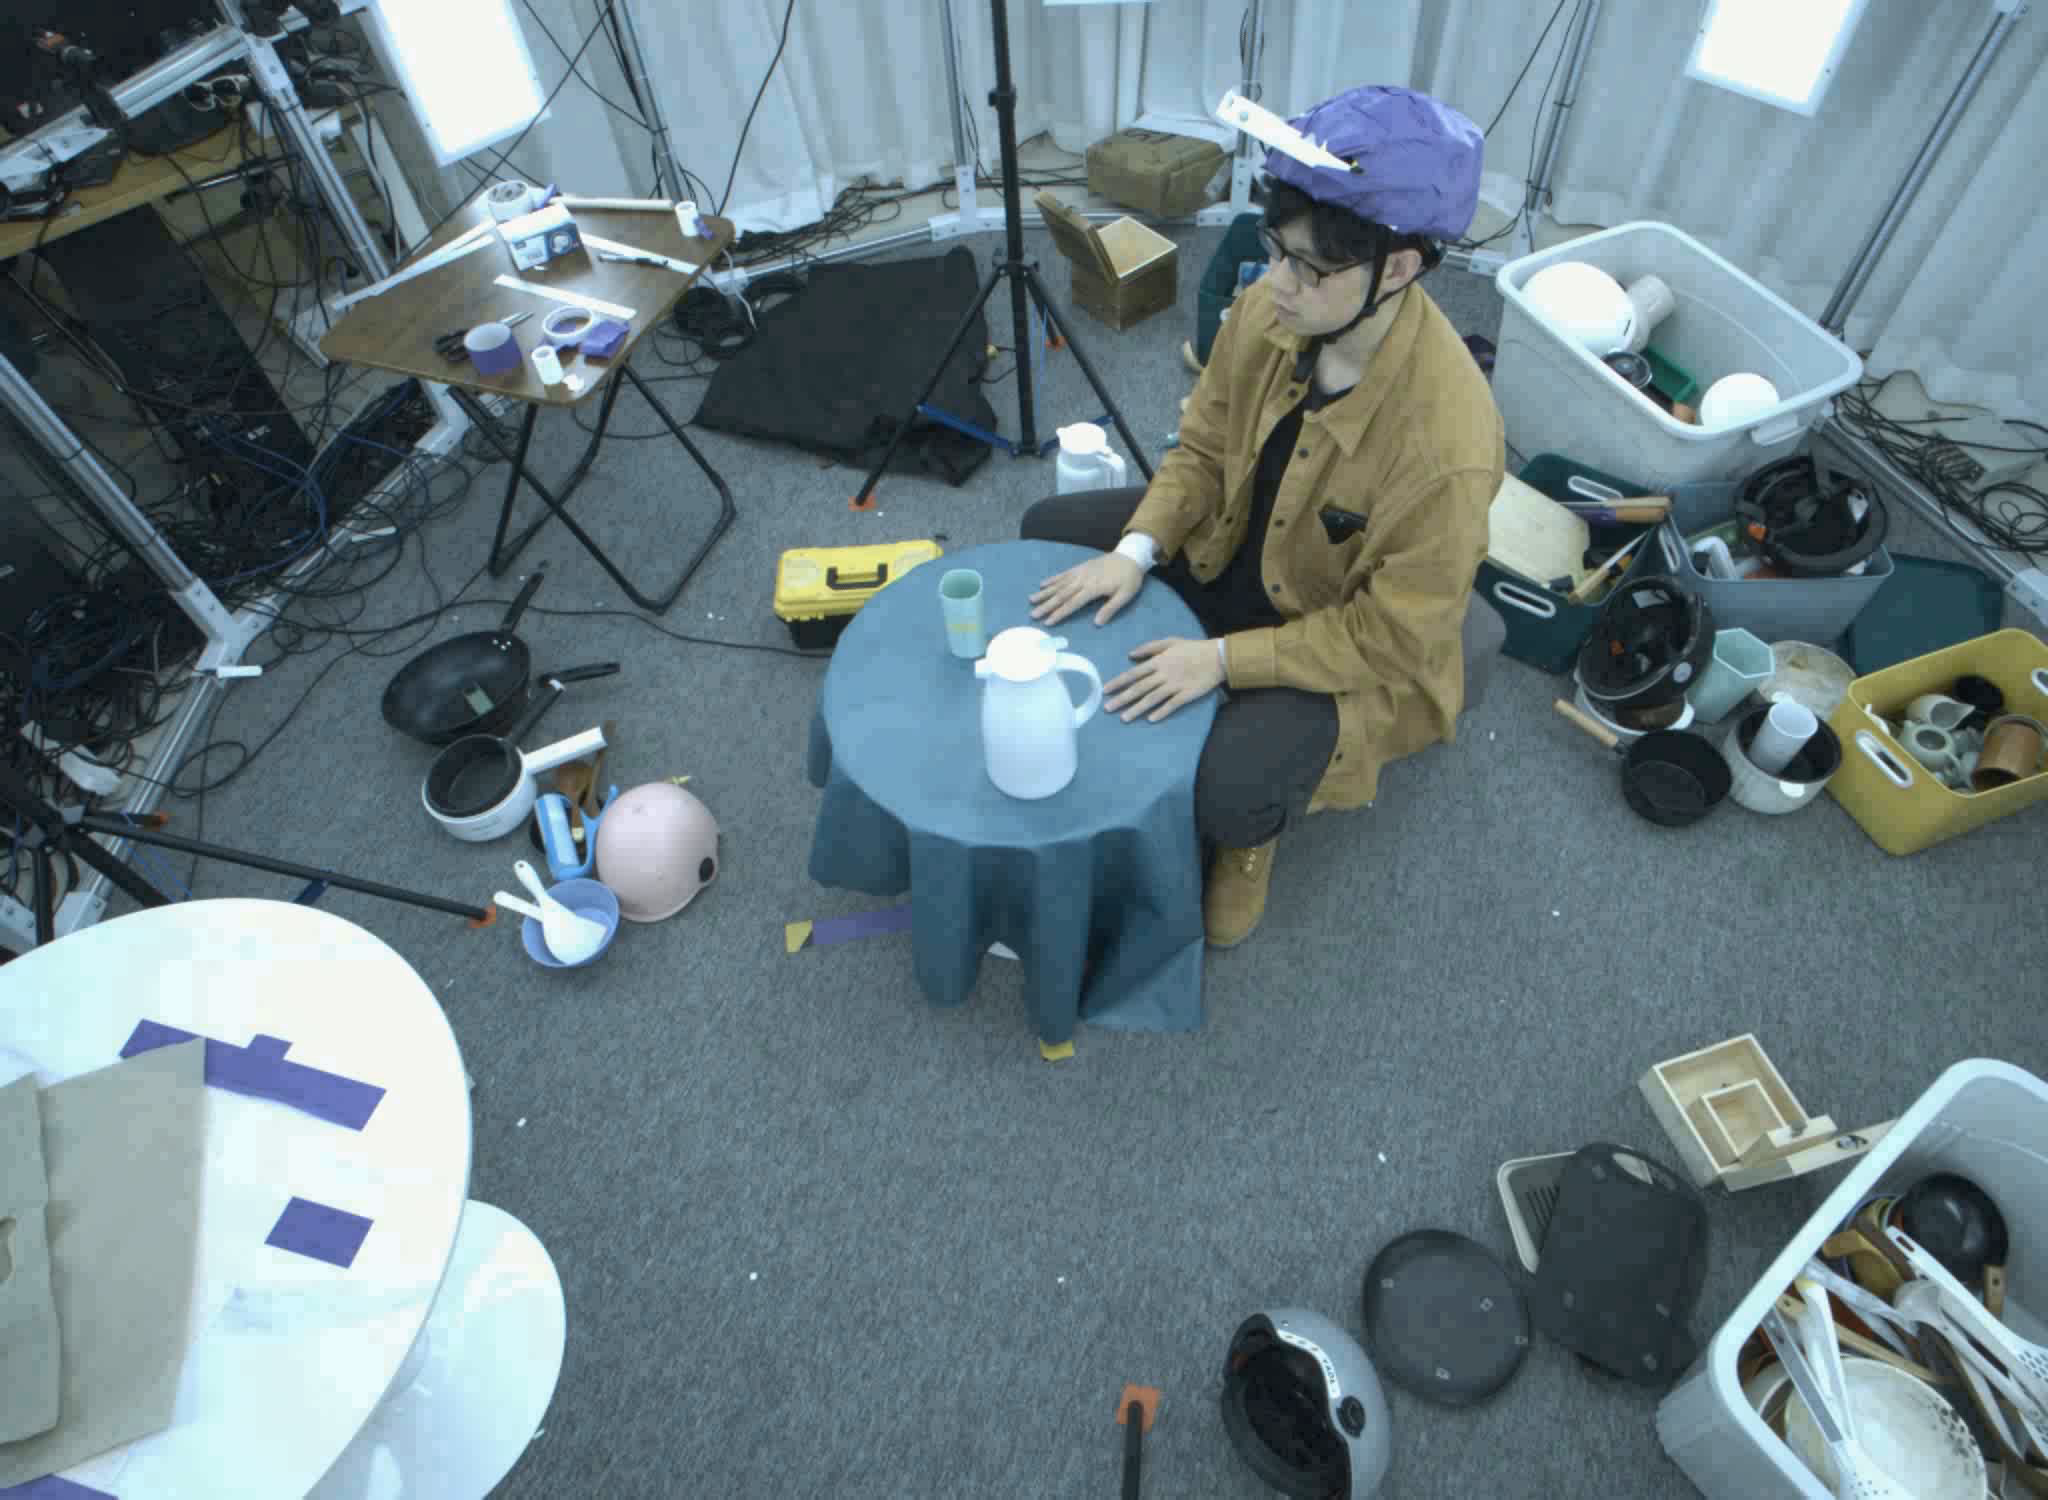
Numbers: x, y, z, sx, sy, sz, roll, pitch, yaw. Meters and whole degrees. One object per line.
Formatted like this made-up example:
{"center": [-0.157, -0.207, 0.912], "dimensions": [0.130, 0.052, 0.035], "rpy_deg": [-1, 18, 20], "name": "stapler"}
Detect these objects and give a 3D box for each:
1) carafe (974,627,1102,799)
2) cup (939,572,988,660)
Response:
{"center": [0.022, -0.060, 1.672], "dimensions": [0.168, 0.251, 0.130], "rpy_deg": [-10, 54, -4], "name": "carafe"}
{"center": [-0.091, -0.203, 1.855], "dimensions": [0.066, 0.134, 0.066], "rpy_deg": [-1, 54, 3], "name": "cup"}
